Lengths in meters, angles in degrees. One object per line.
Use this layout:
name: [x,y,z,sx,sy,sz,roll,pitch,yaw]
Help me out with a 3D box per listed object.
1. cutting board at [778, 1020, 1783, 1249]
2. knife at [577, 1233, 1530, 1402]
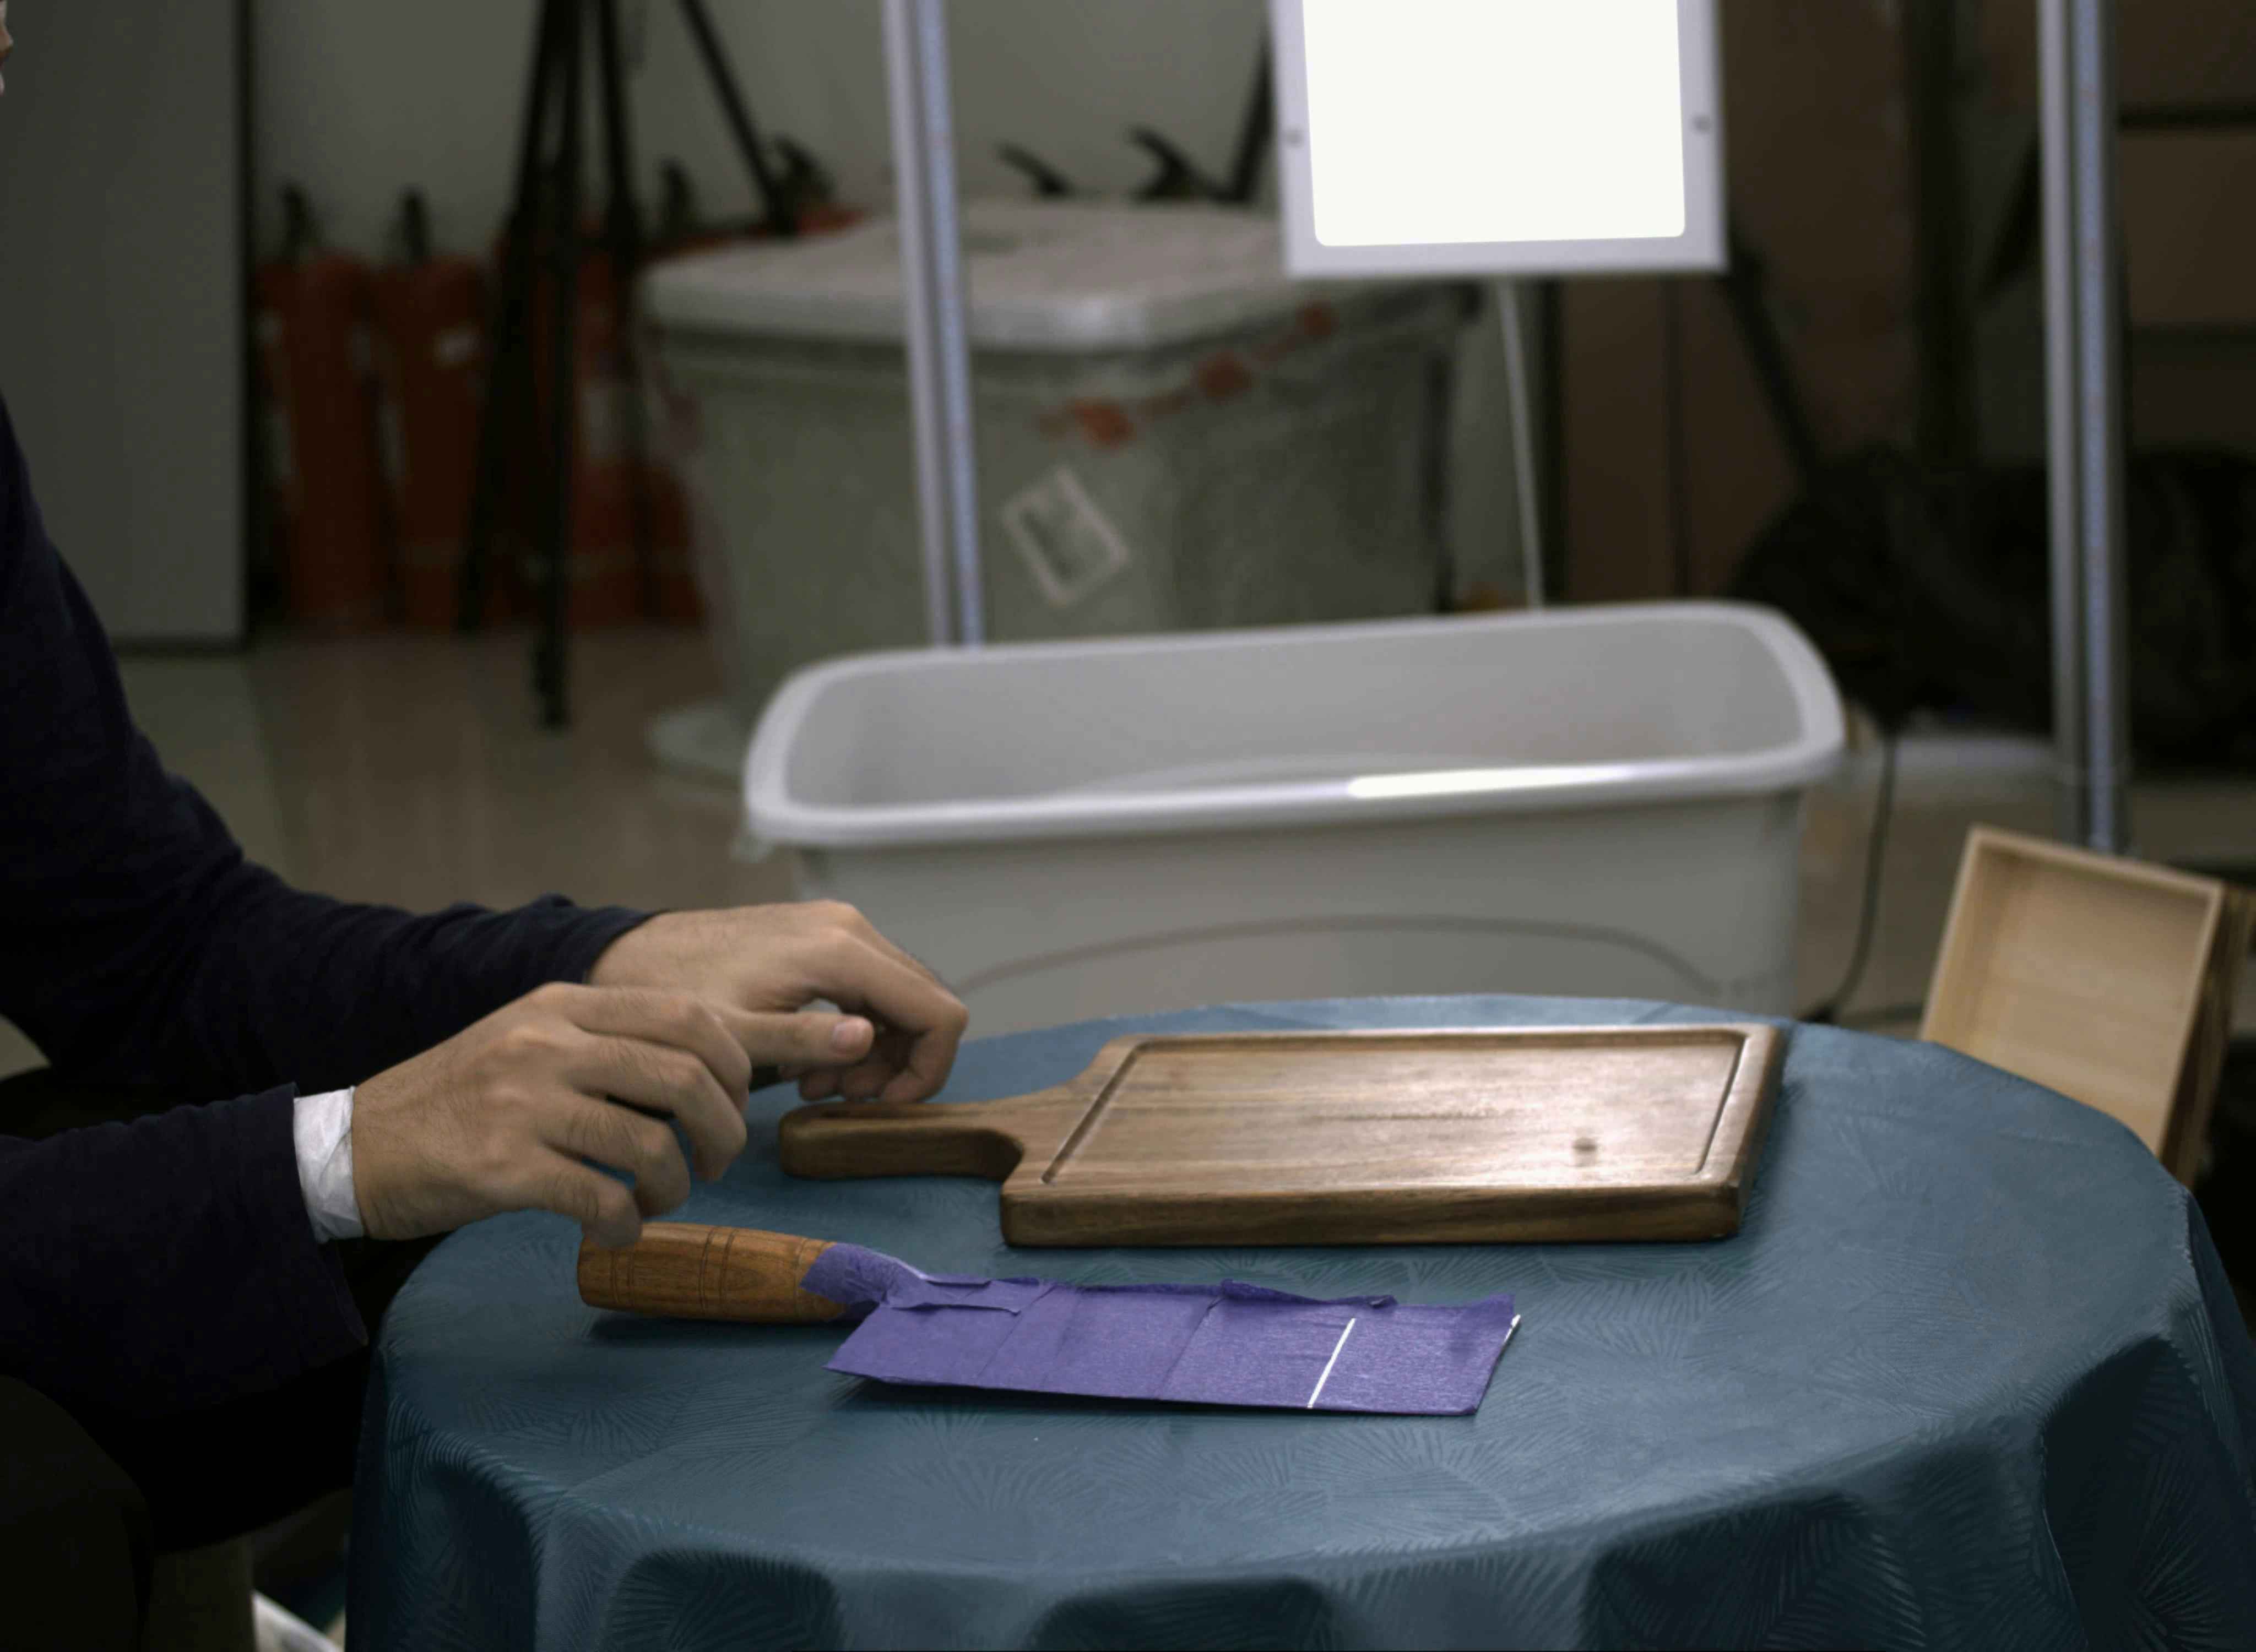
cutting board: [0.048,0.107,1.923,0.355,0.023,0.198,-2,14,15]
knife: [-0.034,0.156,1.740,0.318,0.032,0.102,0,14,17]
